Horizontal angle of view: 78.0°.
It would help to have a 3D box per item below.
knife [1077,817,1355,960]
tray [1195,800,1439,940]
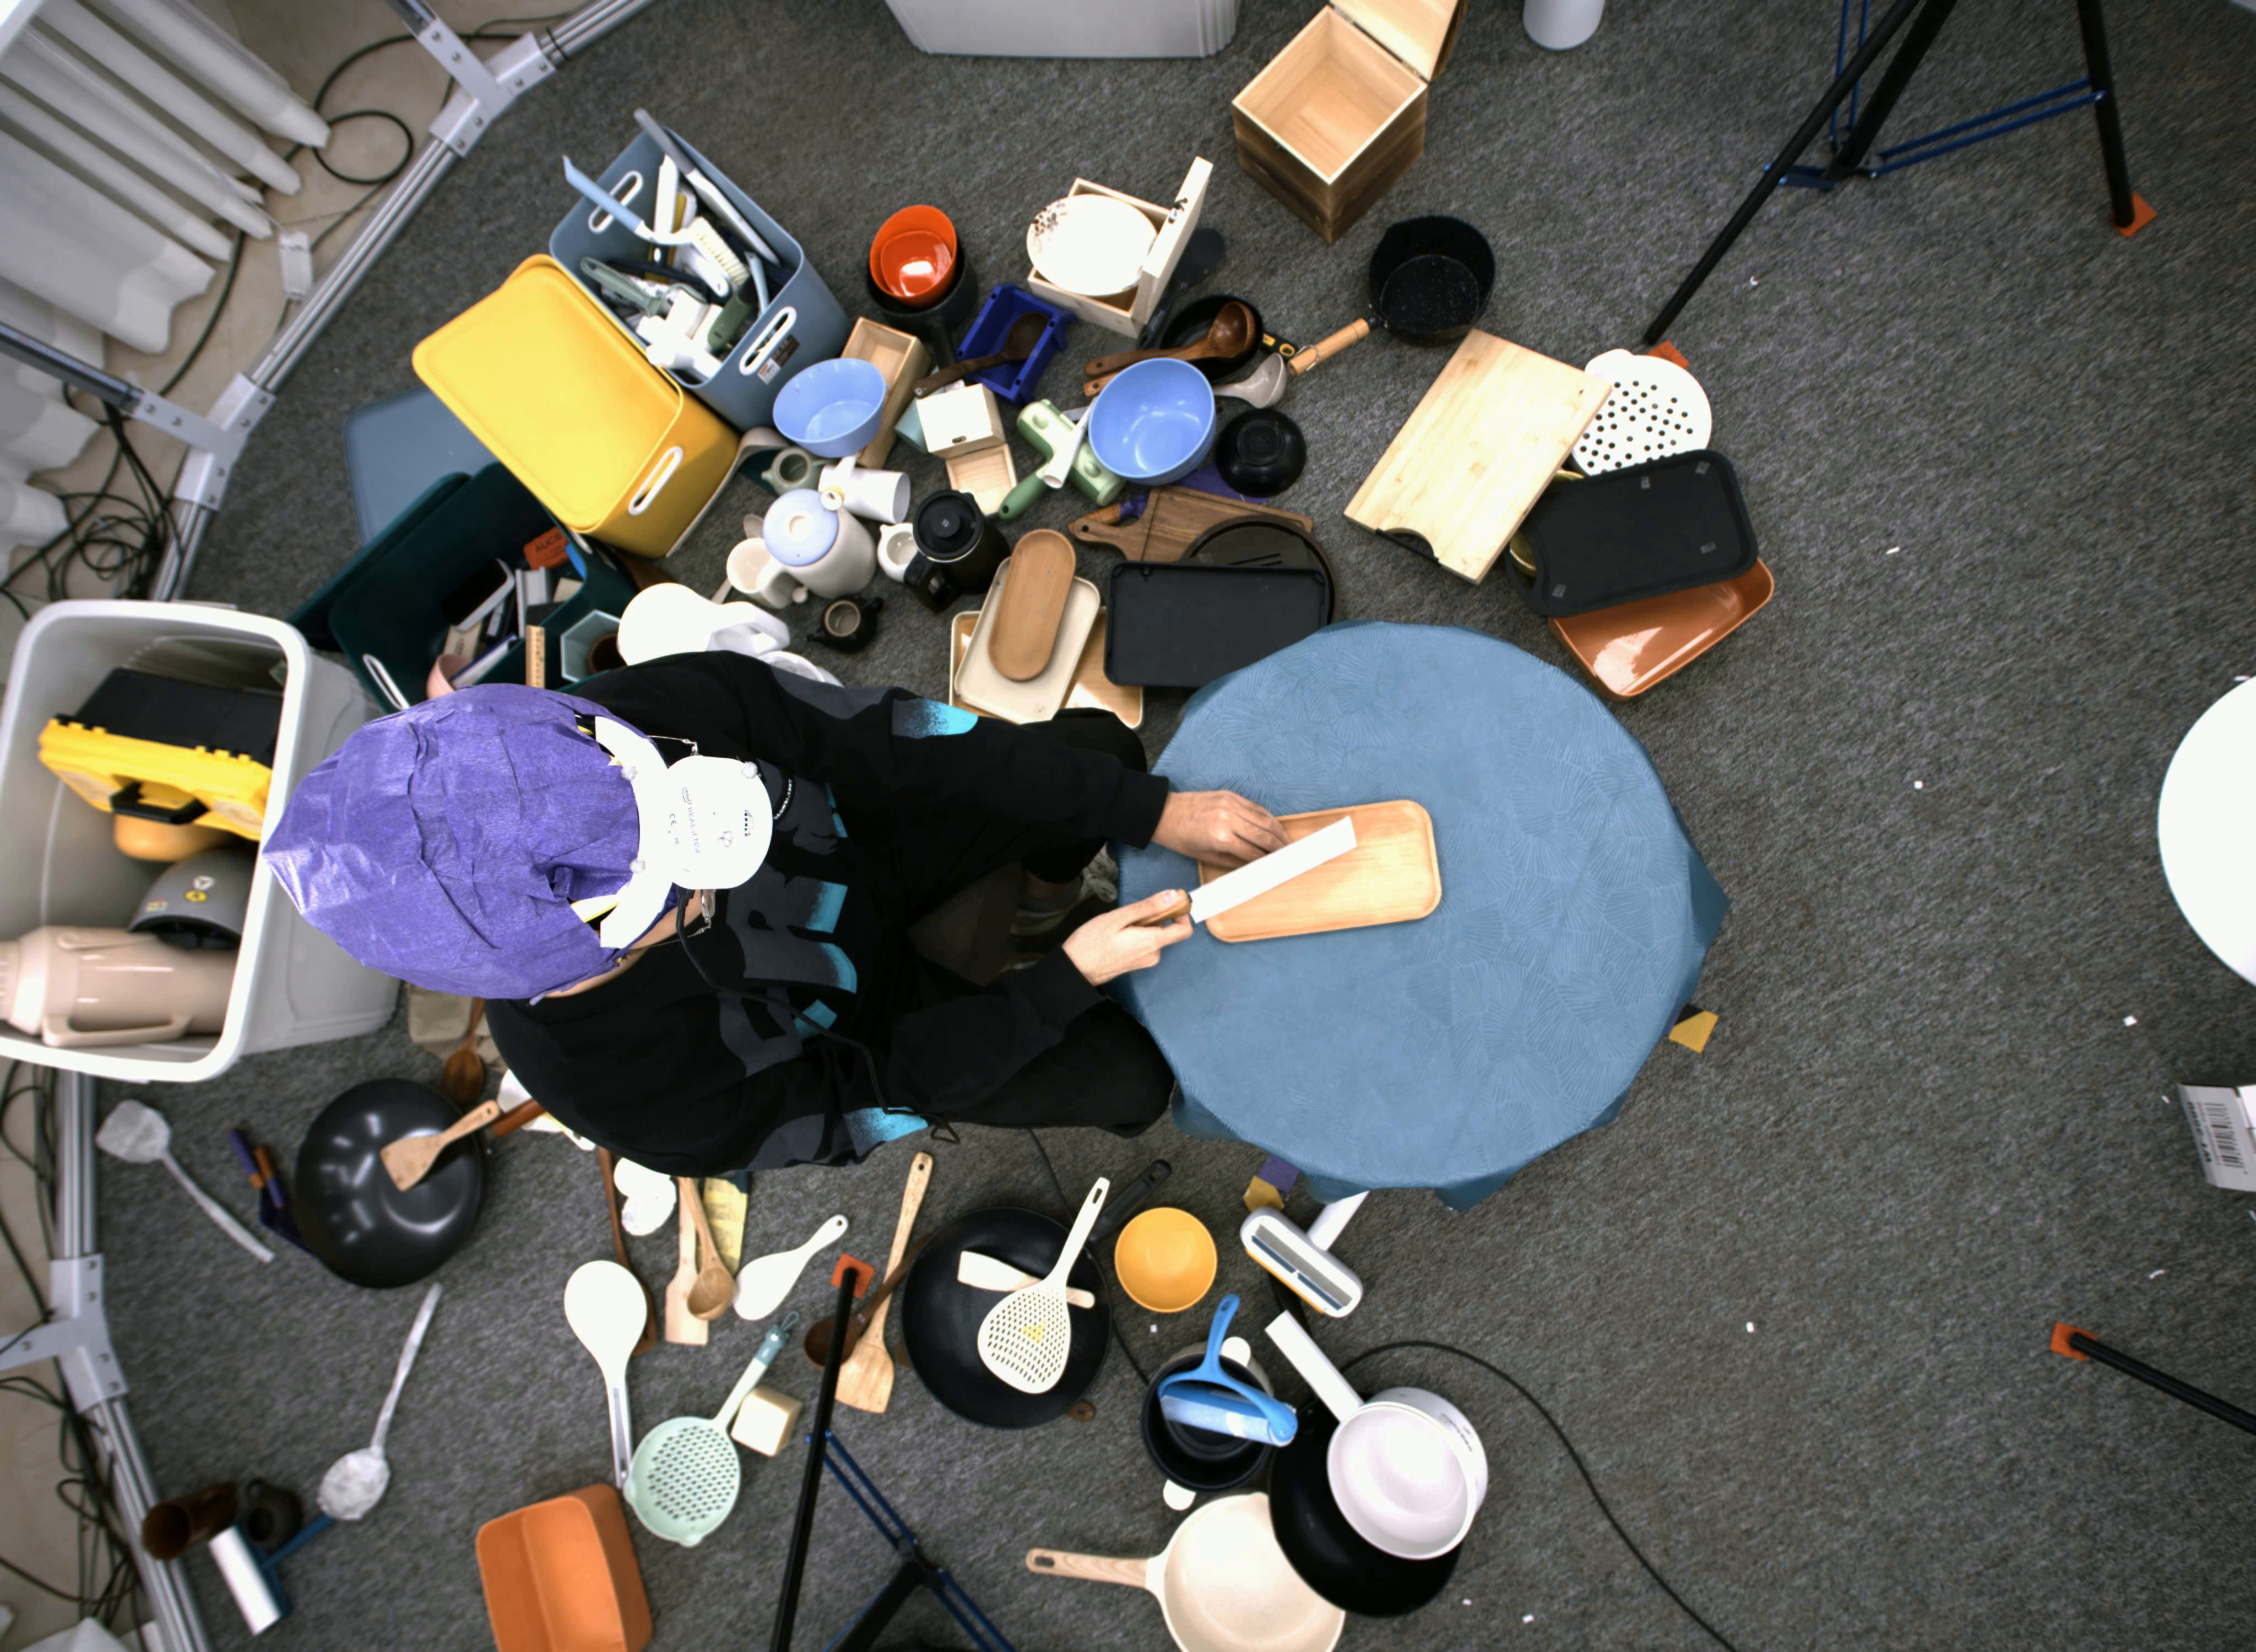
[{"bbox_3d":[0.095,0.070,1.432,0.307,0.094,0.020,-26,65,5],"label":"knife"},{"bbox_3d":[0.199,0.046,1.466,0.252,0.023,0.129,-6,84,11],"label":"tray"}]
